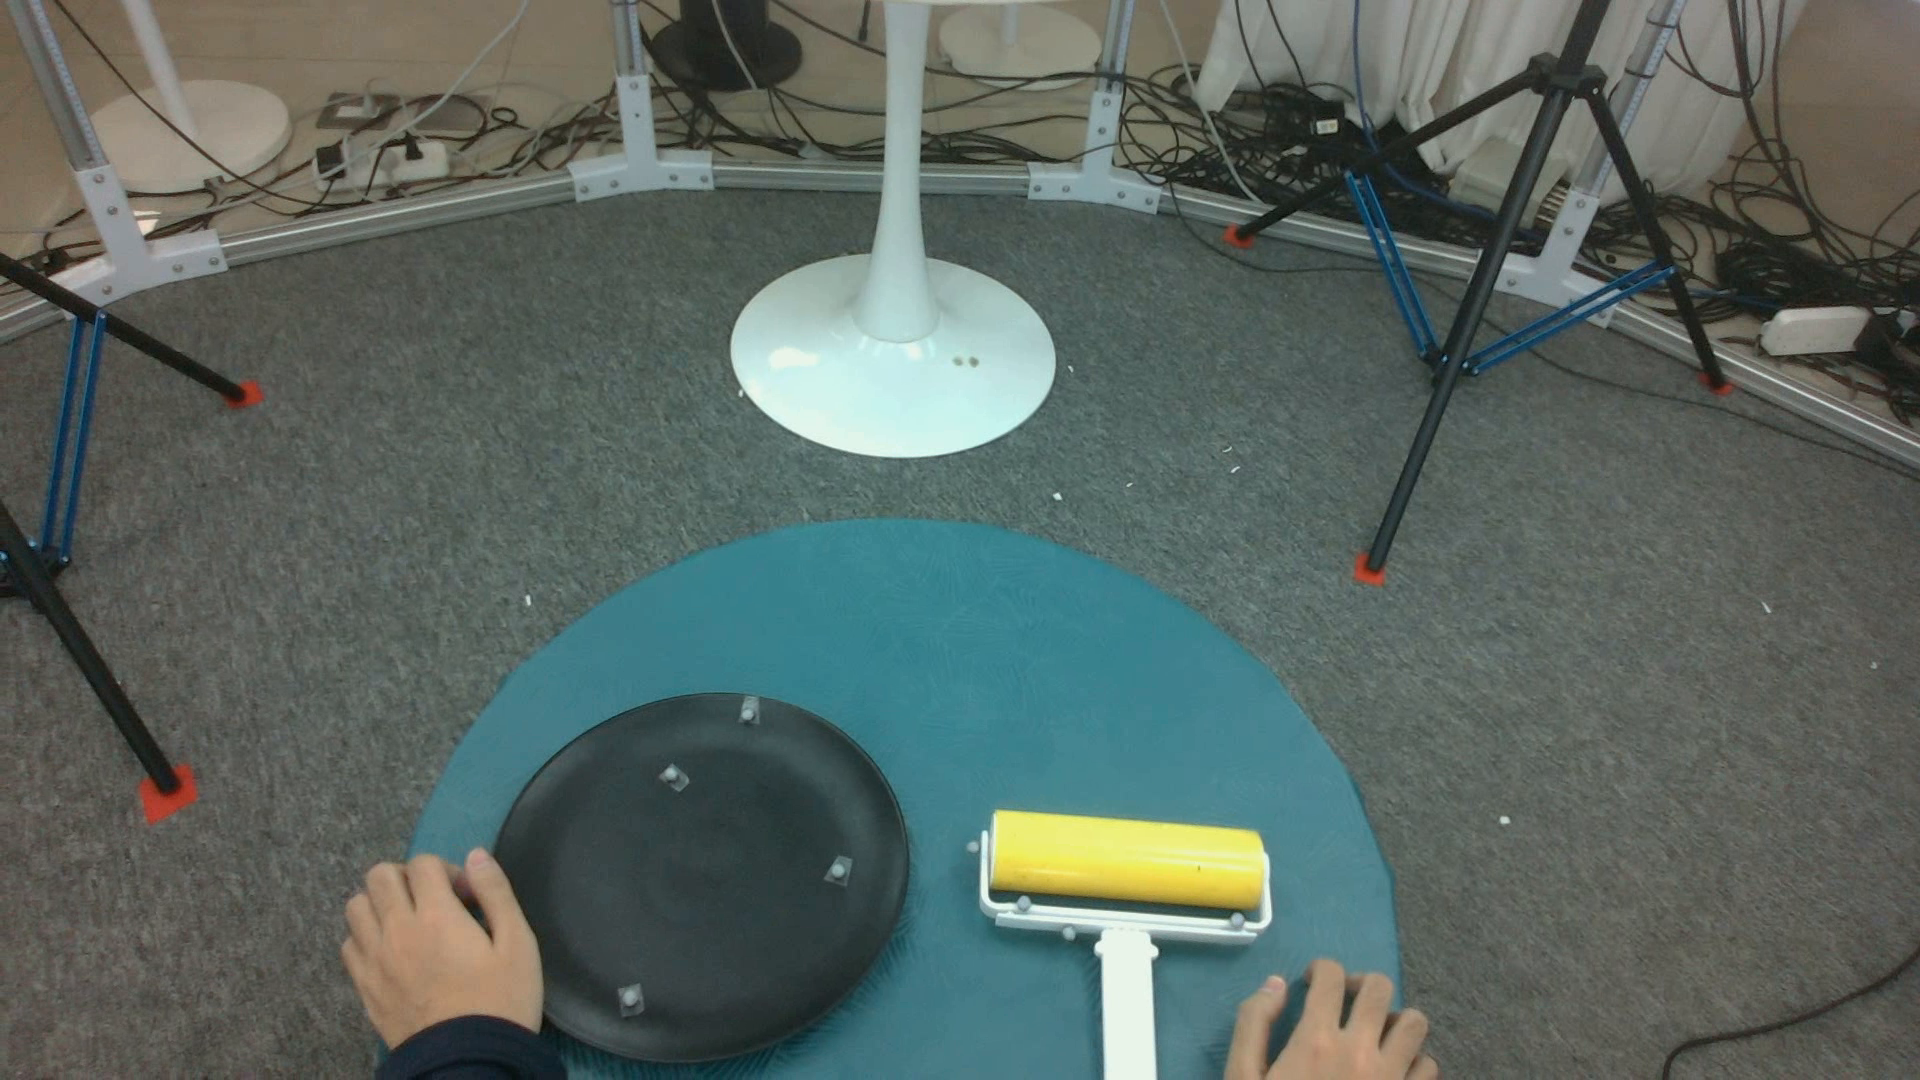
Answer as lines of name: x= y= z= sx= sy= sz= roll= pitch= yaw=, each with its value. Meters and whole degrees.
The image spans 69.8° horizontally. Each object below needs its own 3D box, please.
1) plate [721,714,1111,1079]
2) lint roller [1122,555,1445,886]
plate: x=-0.027 y=0.214 z=0.822 sx=0.244 sy=0.023 sz=0.245 roll=-11 pitch=50 yaw=13
lint roller: x=0.210 y=0.114 z=0.792 sx=0.174 sy=0.051 sz=0.192 roll=-31 pitch=45 yaw=-3
